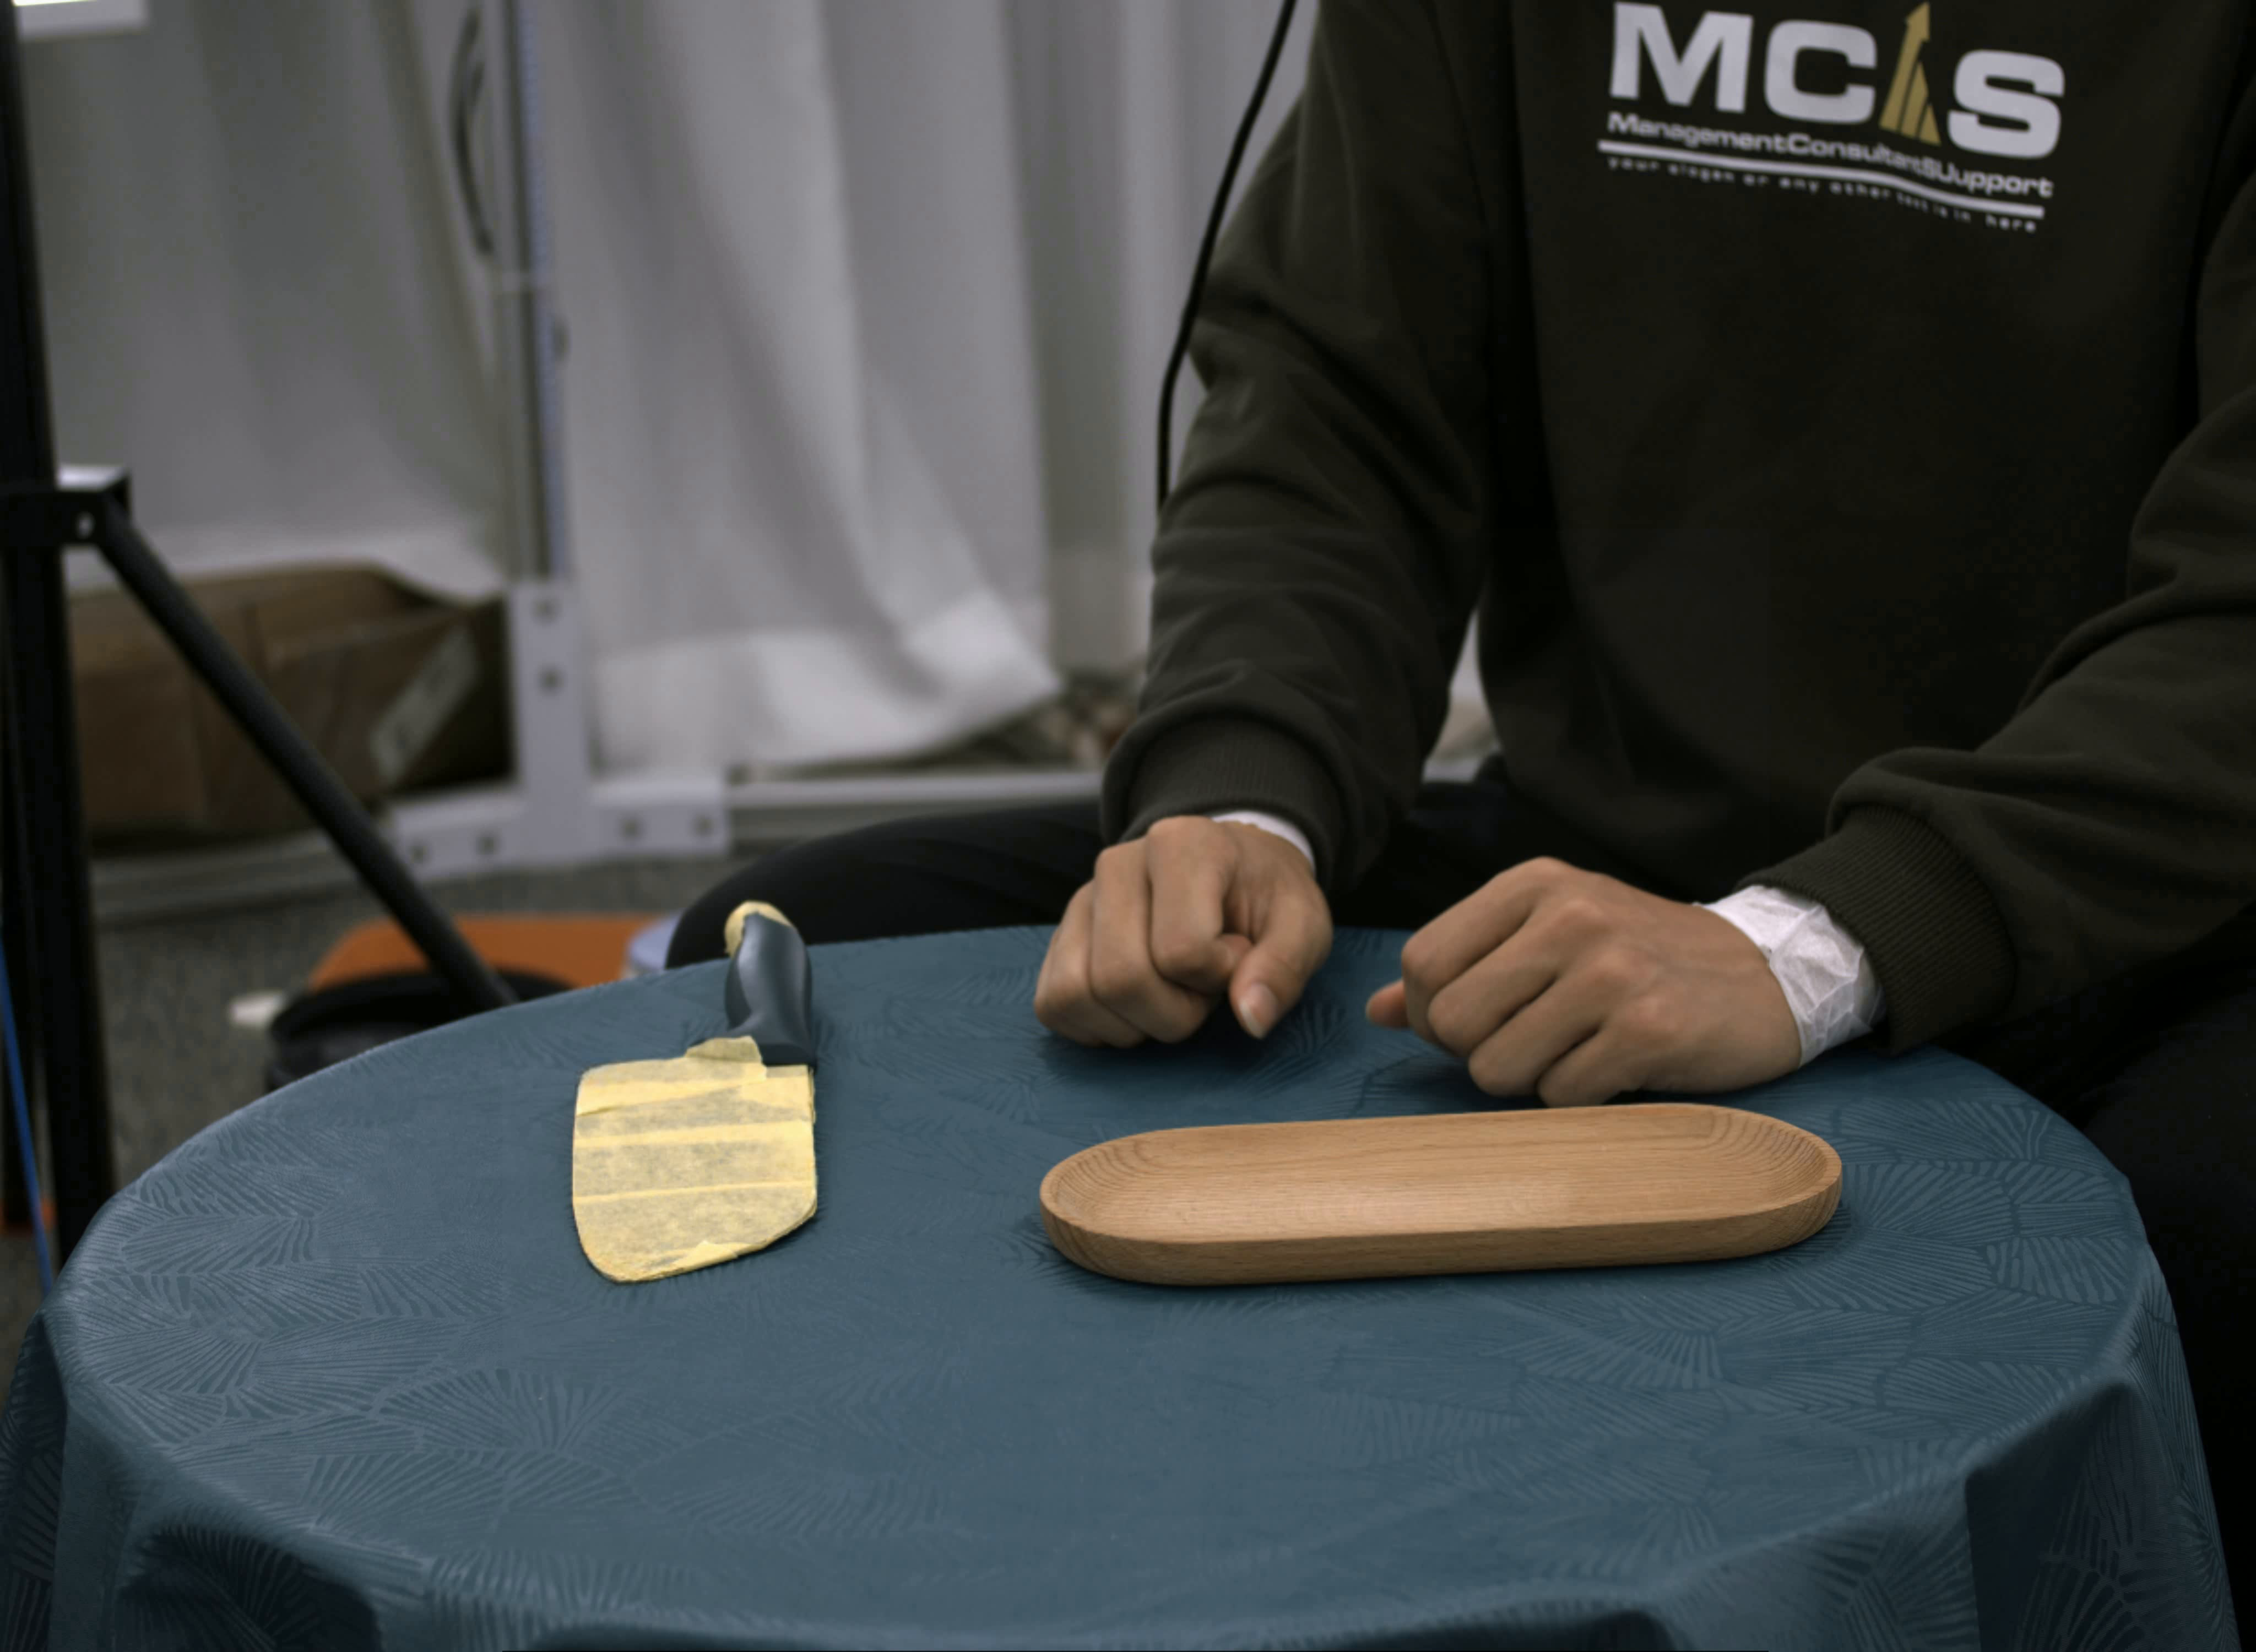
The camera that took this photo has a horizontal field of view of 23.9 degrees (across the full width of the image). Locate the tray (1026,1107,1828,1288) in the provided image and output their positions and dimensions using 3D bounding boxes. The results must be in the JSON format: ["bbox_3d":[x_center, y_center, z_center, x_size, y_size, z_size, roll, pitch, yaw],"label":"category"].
[{"bbox_3d":[0.086,0.107,1.521,0.230,0.020,0.102,-4,14,-1],"label":"tray"}]

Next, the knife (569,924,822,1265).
[{"bbox_3d":[-0.132,0.083,1.645,0.080,0.027,0.291,-1,17,-1],"label":"knife"}]
